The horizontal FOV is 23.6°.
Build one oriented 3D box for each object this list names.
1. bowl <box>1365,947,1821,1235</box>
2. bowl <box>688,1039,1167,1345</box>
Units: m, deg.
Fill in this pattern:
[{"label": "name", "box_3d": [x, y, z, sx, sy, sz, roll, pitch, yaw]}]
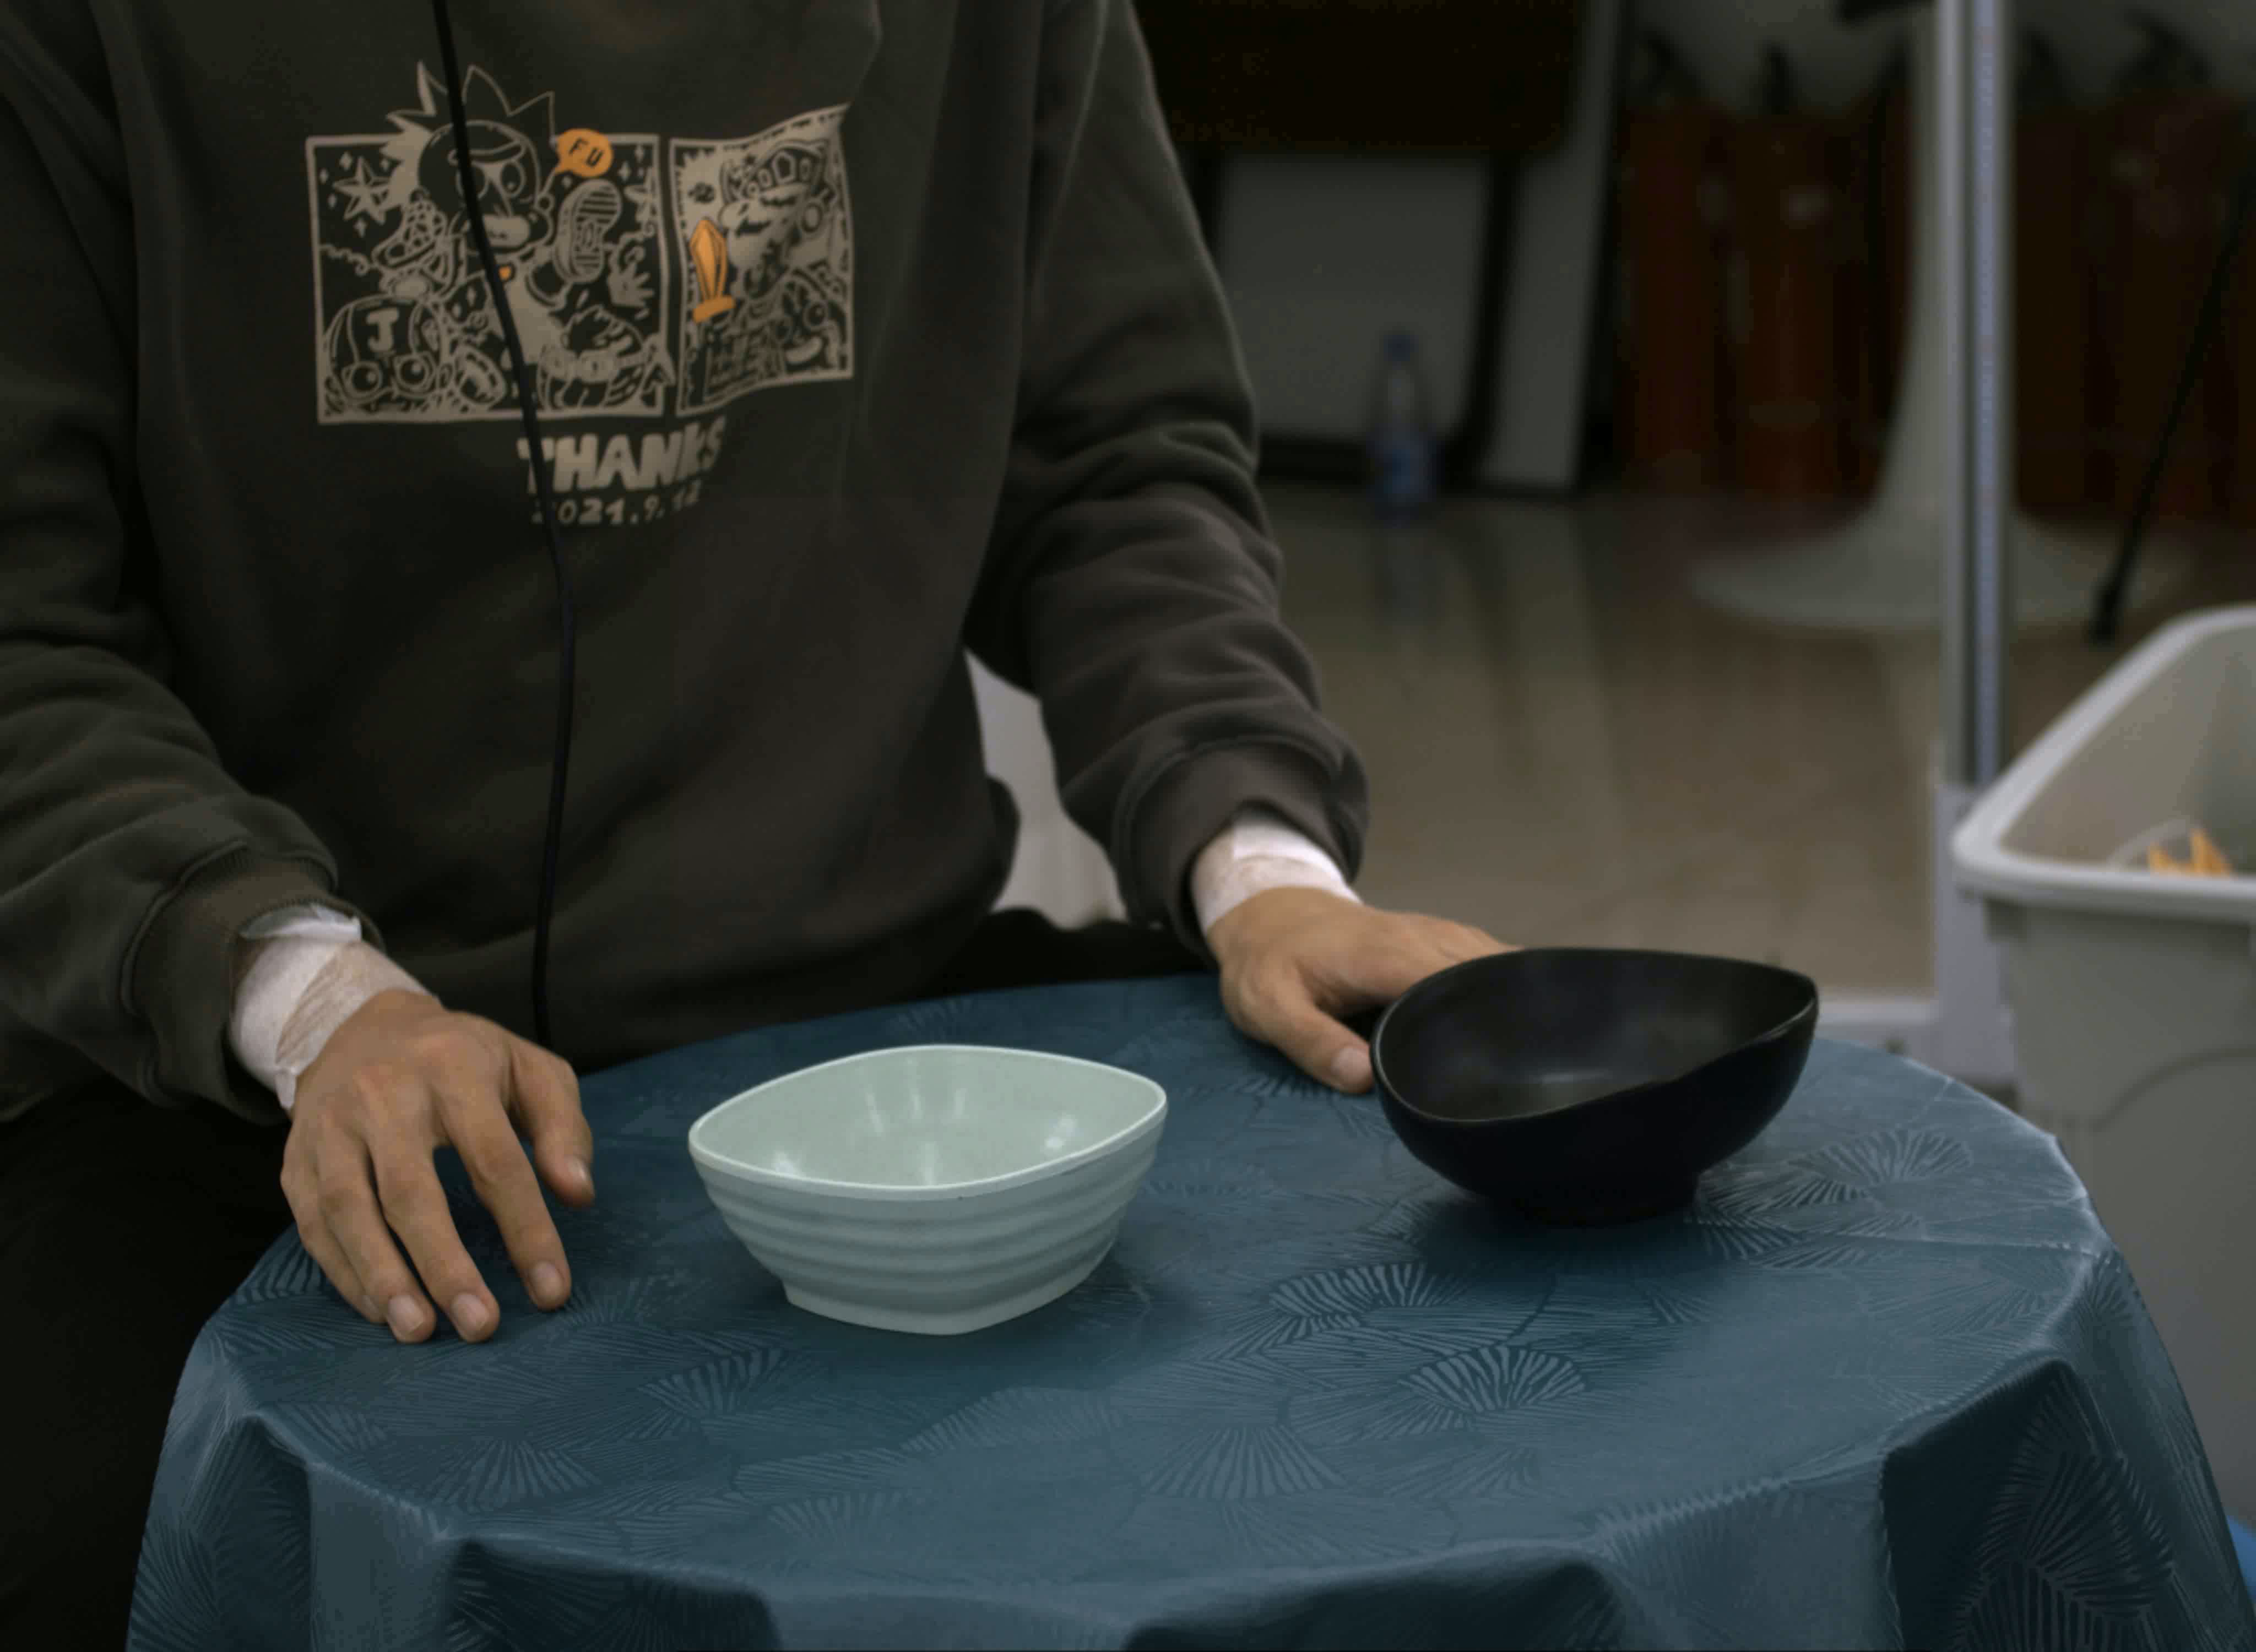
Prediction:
[{"label": "bowl", "box_3d": [0.151, 0.090, 1.729, 0.138, 0.067, 0.167, 6, 18, 37]}, {"label": "bowl", "box_3d": [-0.061, 0.117, 1.686, 0.149, 0.059, 0.152, -2, 16, 0]}]
